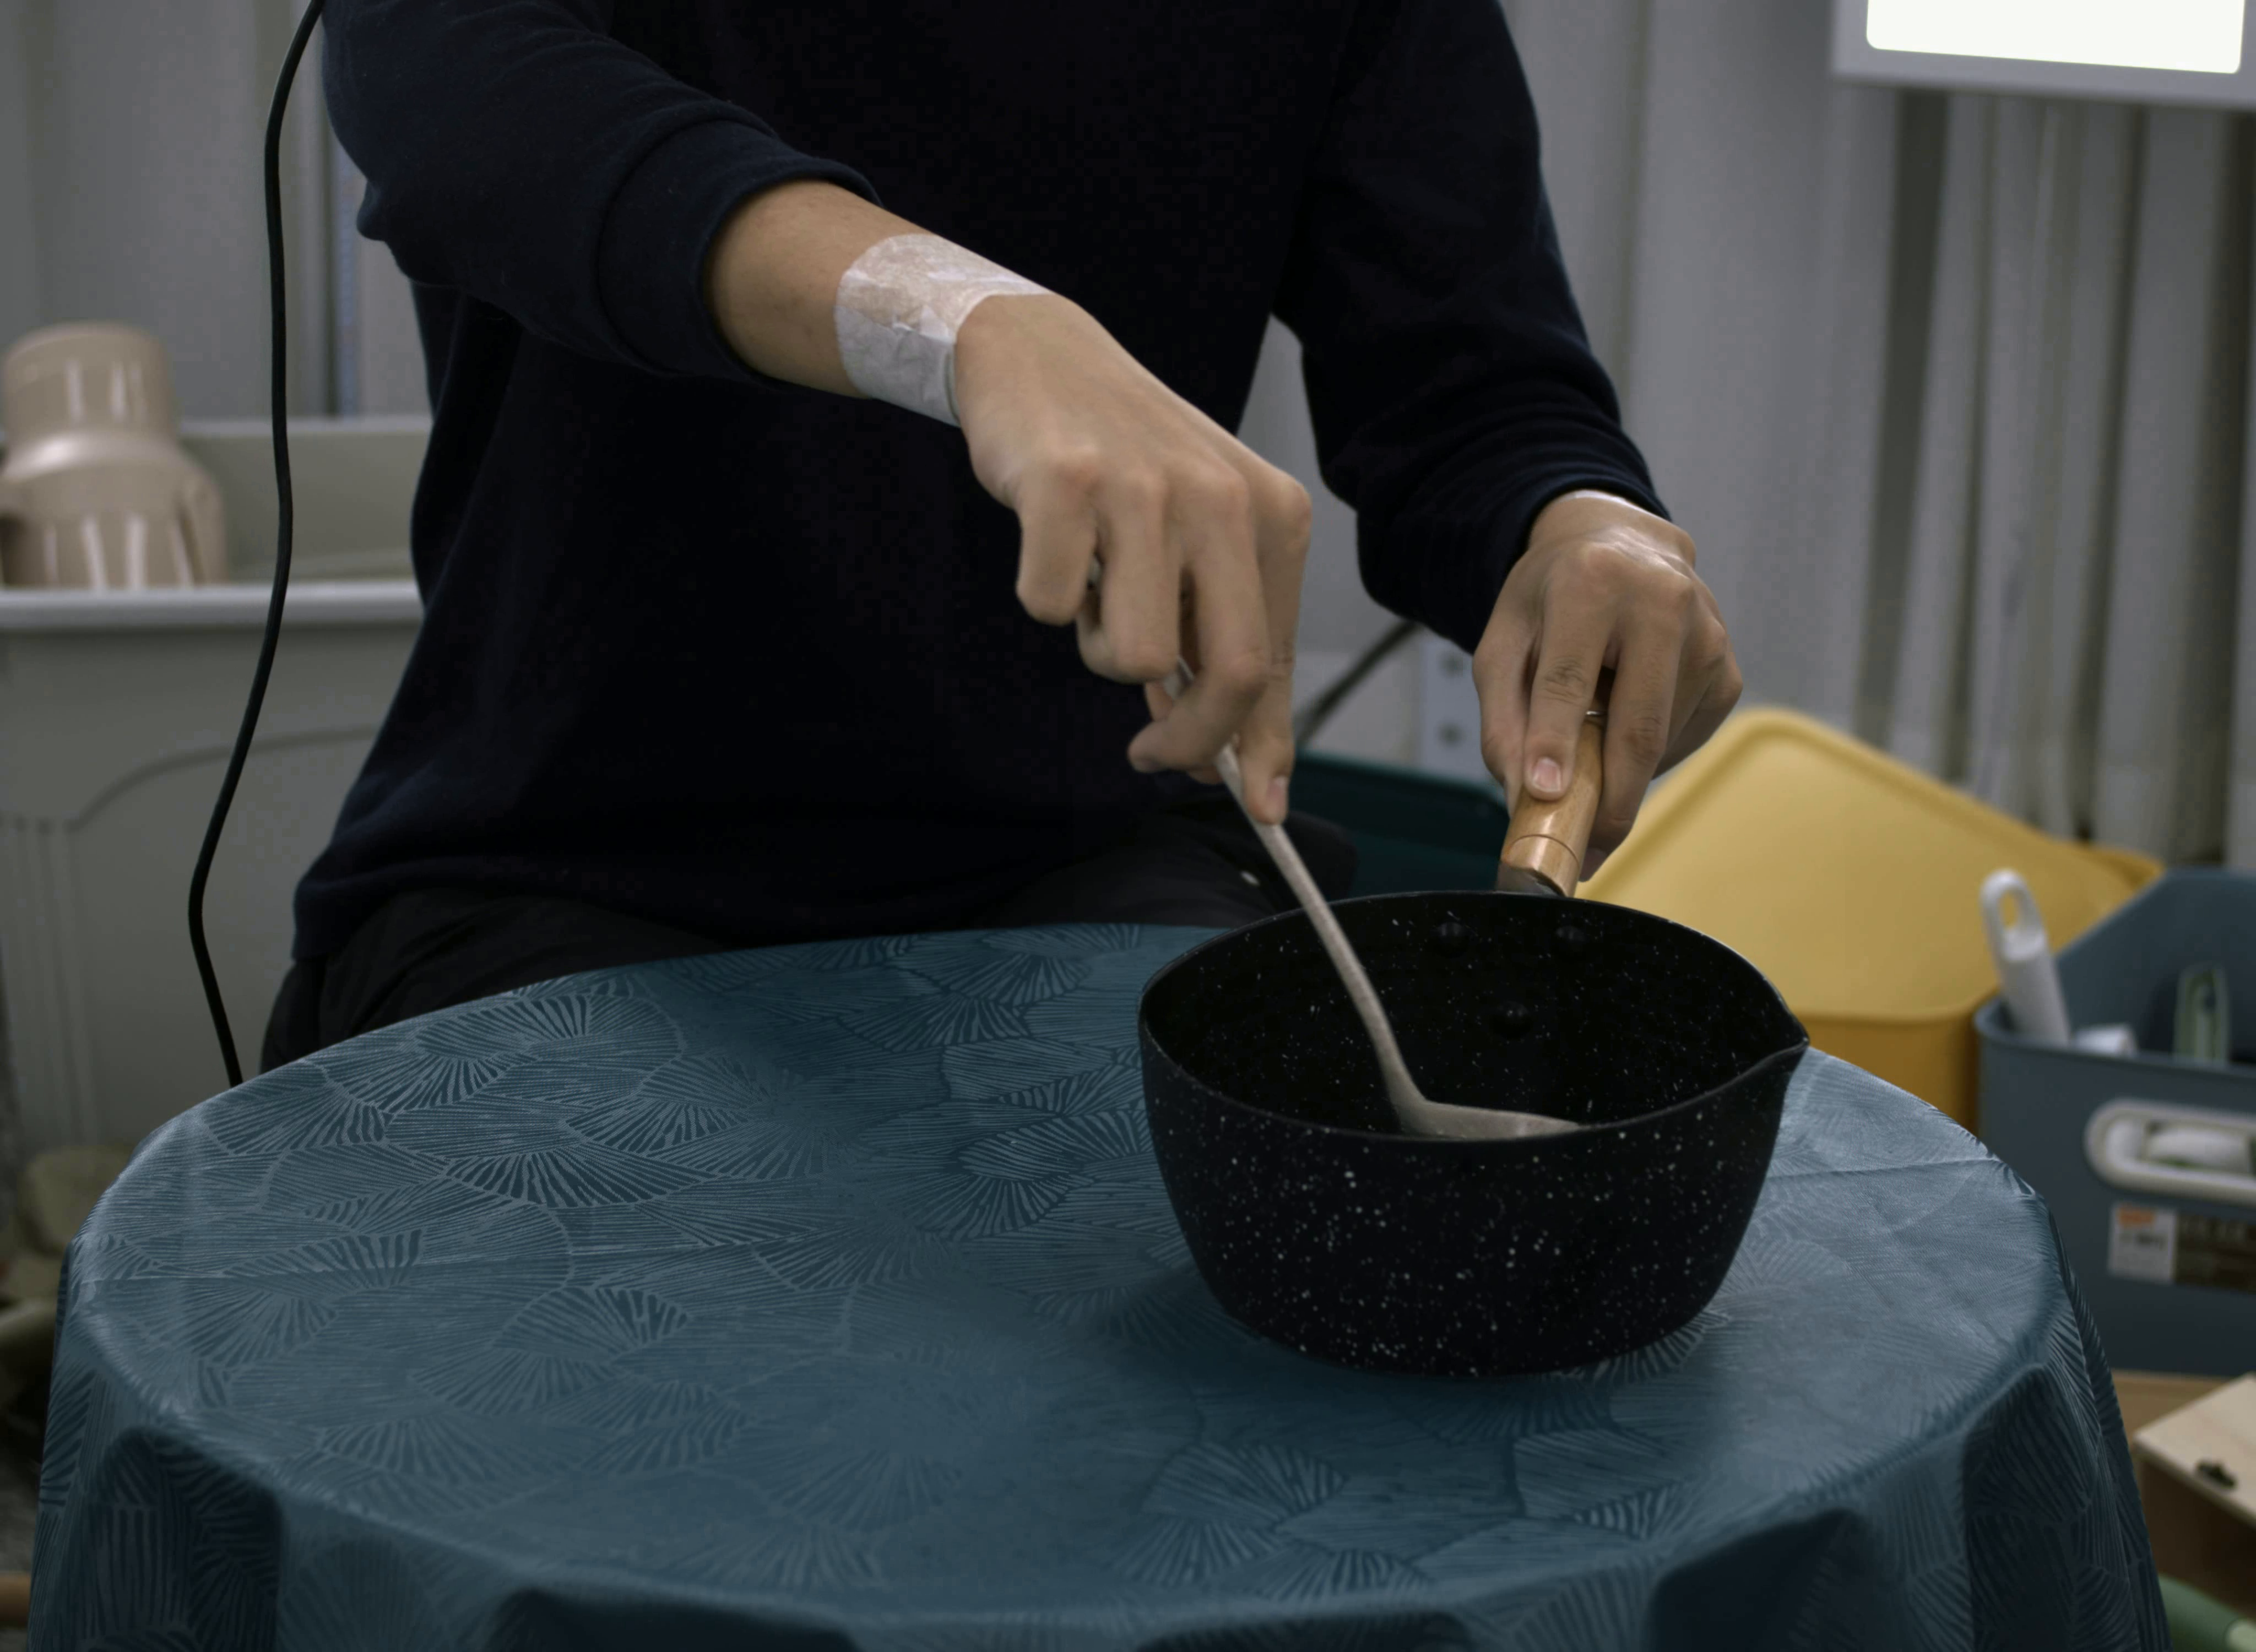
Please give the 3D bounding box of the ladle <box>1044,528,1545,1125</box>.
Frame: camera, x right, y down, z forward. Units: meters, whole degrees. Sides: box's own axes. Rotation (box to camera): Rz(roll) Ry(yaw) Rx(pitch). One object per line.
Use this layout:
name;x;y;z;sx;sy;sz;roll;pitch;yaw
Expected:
ladle;0.070;0.015;1.479;0.069;0.278;0.088;-27;24;7

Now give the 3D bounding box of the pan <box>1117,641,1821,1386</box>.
pan;0.113;0.051;1.592;0.206;0.109;0.341;2;23;12
